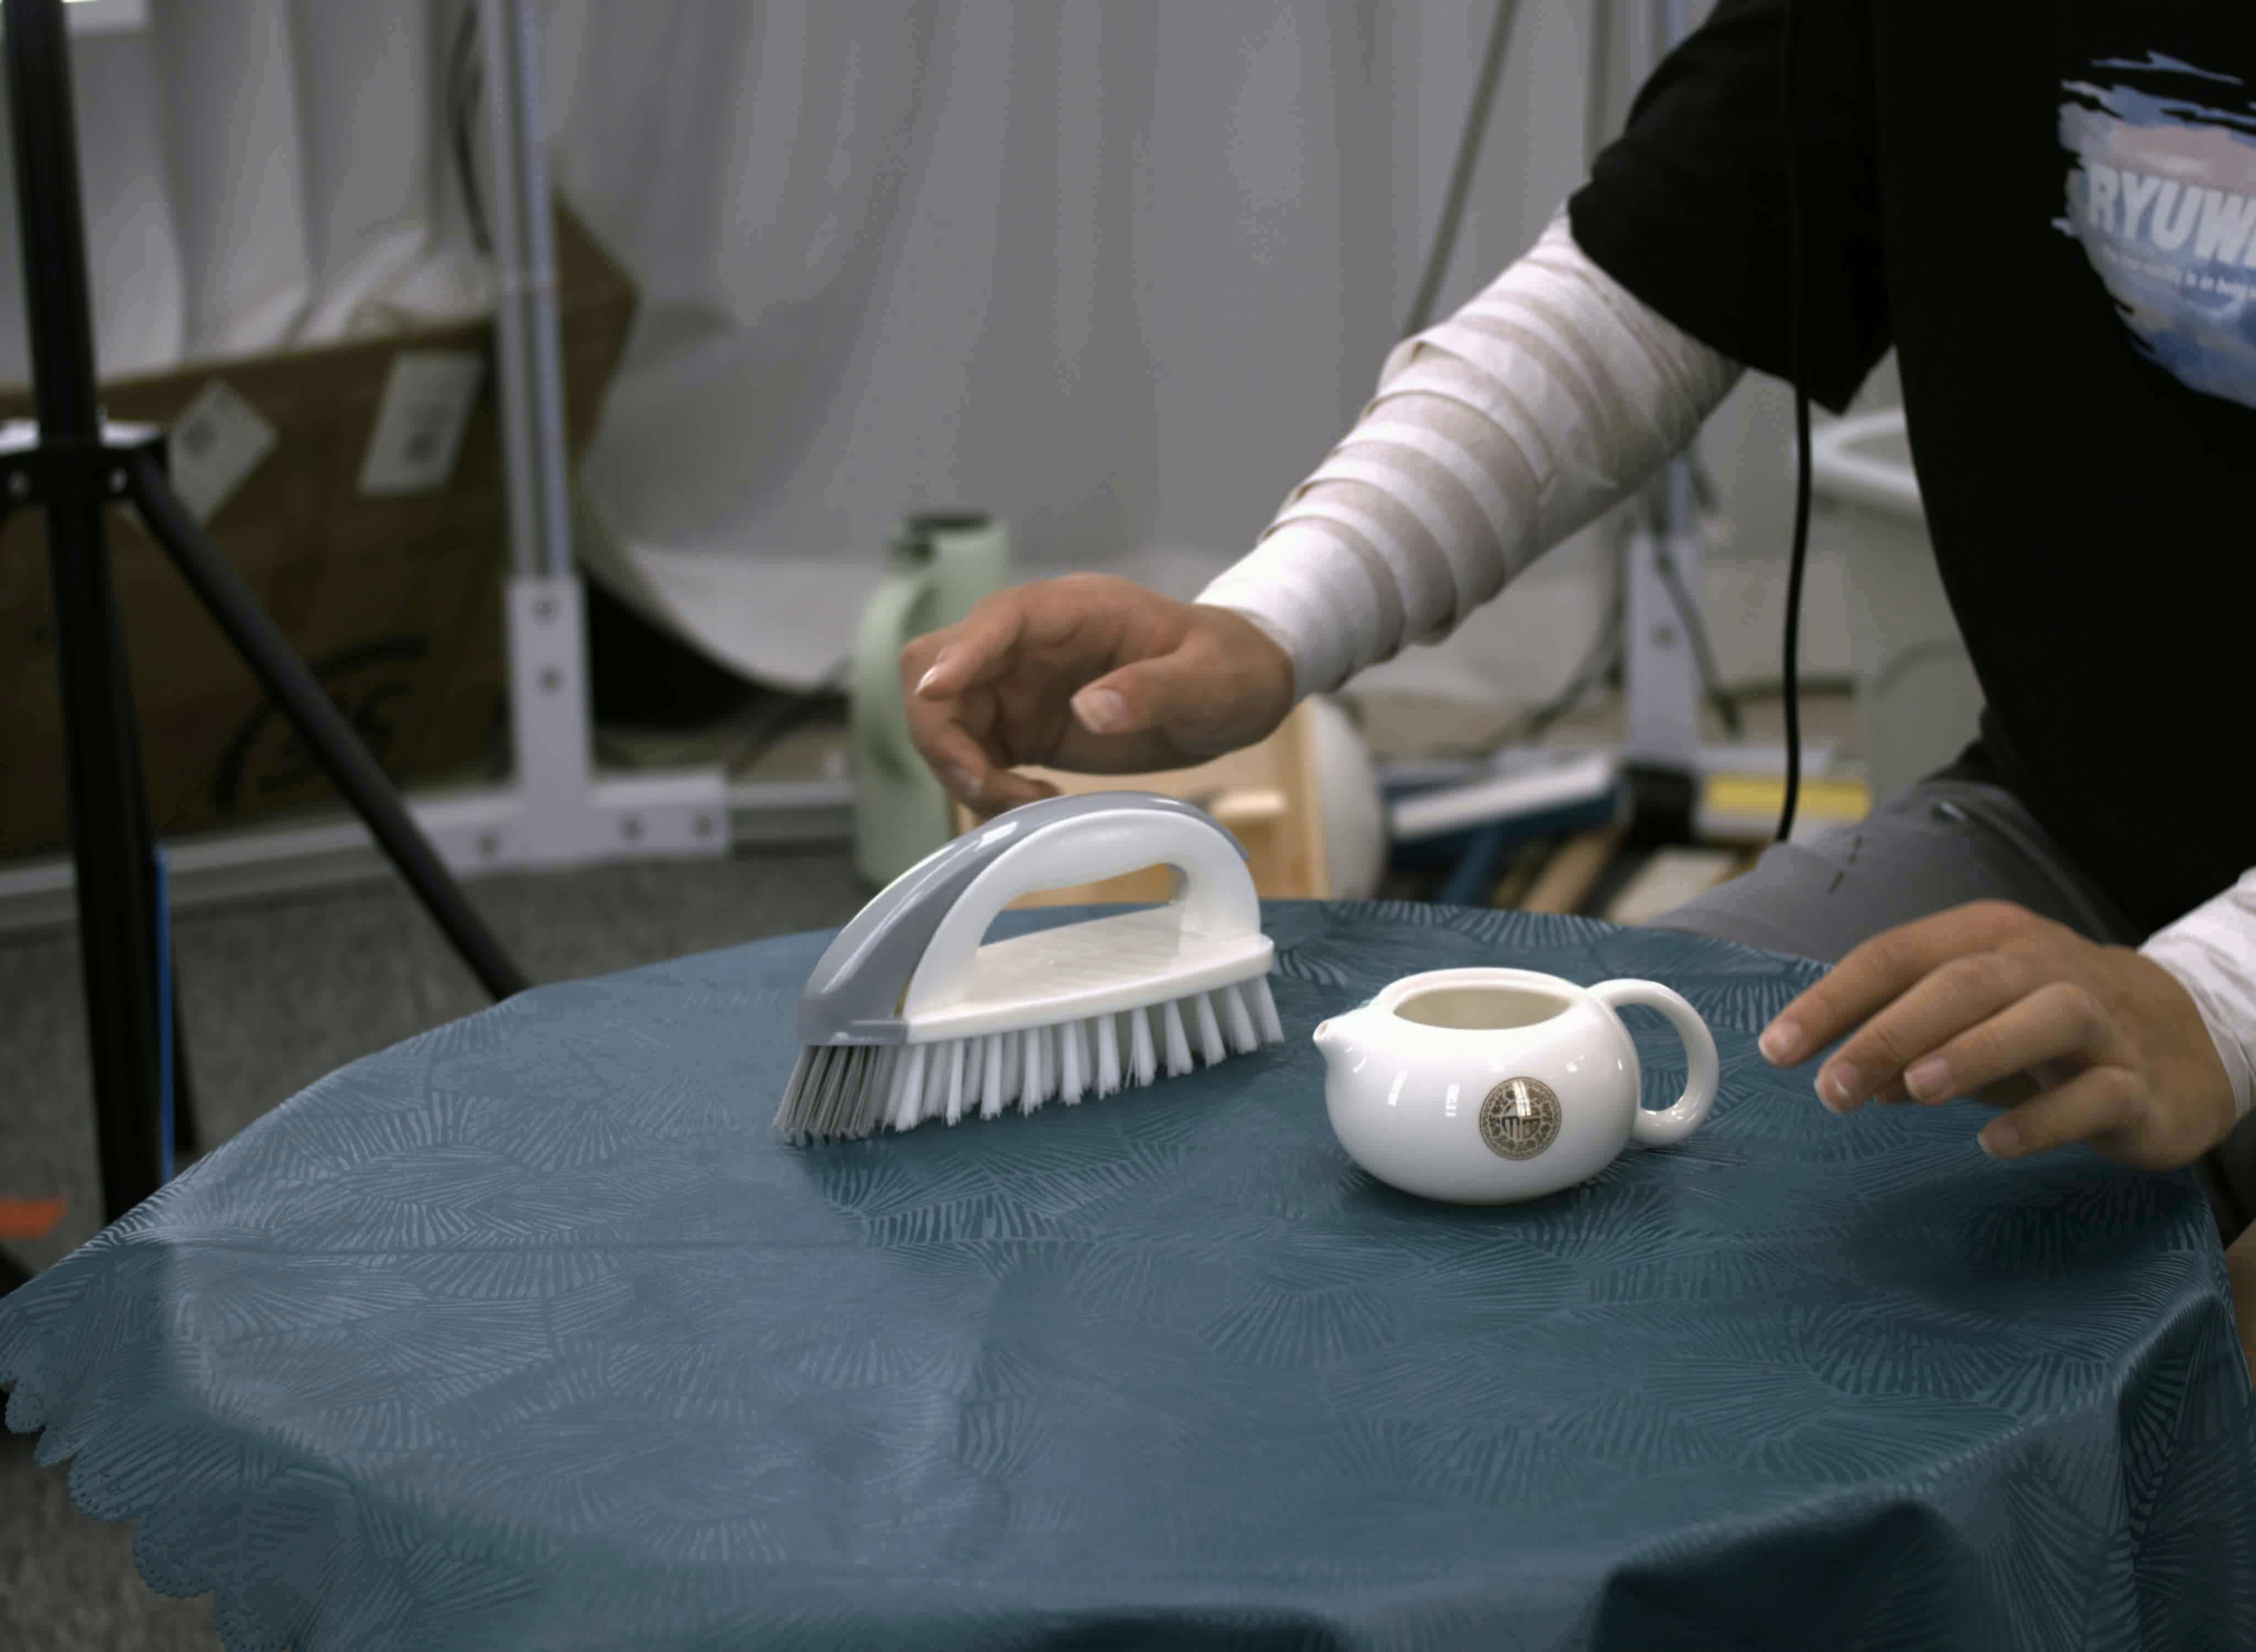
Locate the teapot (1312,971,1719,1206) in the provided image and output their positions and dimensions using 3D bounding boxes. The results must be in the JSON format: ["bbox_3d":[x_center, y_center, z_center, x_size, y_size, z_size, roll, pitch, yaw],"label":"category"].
[{"bbox_3d":[0.114,0.076,1.556,0.125,0.057,0.095,-6,12,-19],"label":"teapot"}]

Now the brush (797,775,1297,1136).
[{"bbox_3d":[-0.031,0.038,1.645,0.172,0.094,0.063,-14,17,-30],"label":"brush"}]
